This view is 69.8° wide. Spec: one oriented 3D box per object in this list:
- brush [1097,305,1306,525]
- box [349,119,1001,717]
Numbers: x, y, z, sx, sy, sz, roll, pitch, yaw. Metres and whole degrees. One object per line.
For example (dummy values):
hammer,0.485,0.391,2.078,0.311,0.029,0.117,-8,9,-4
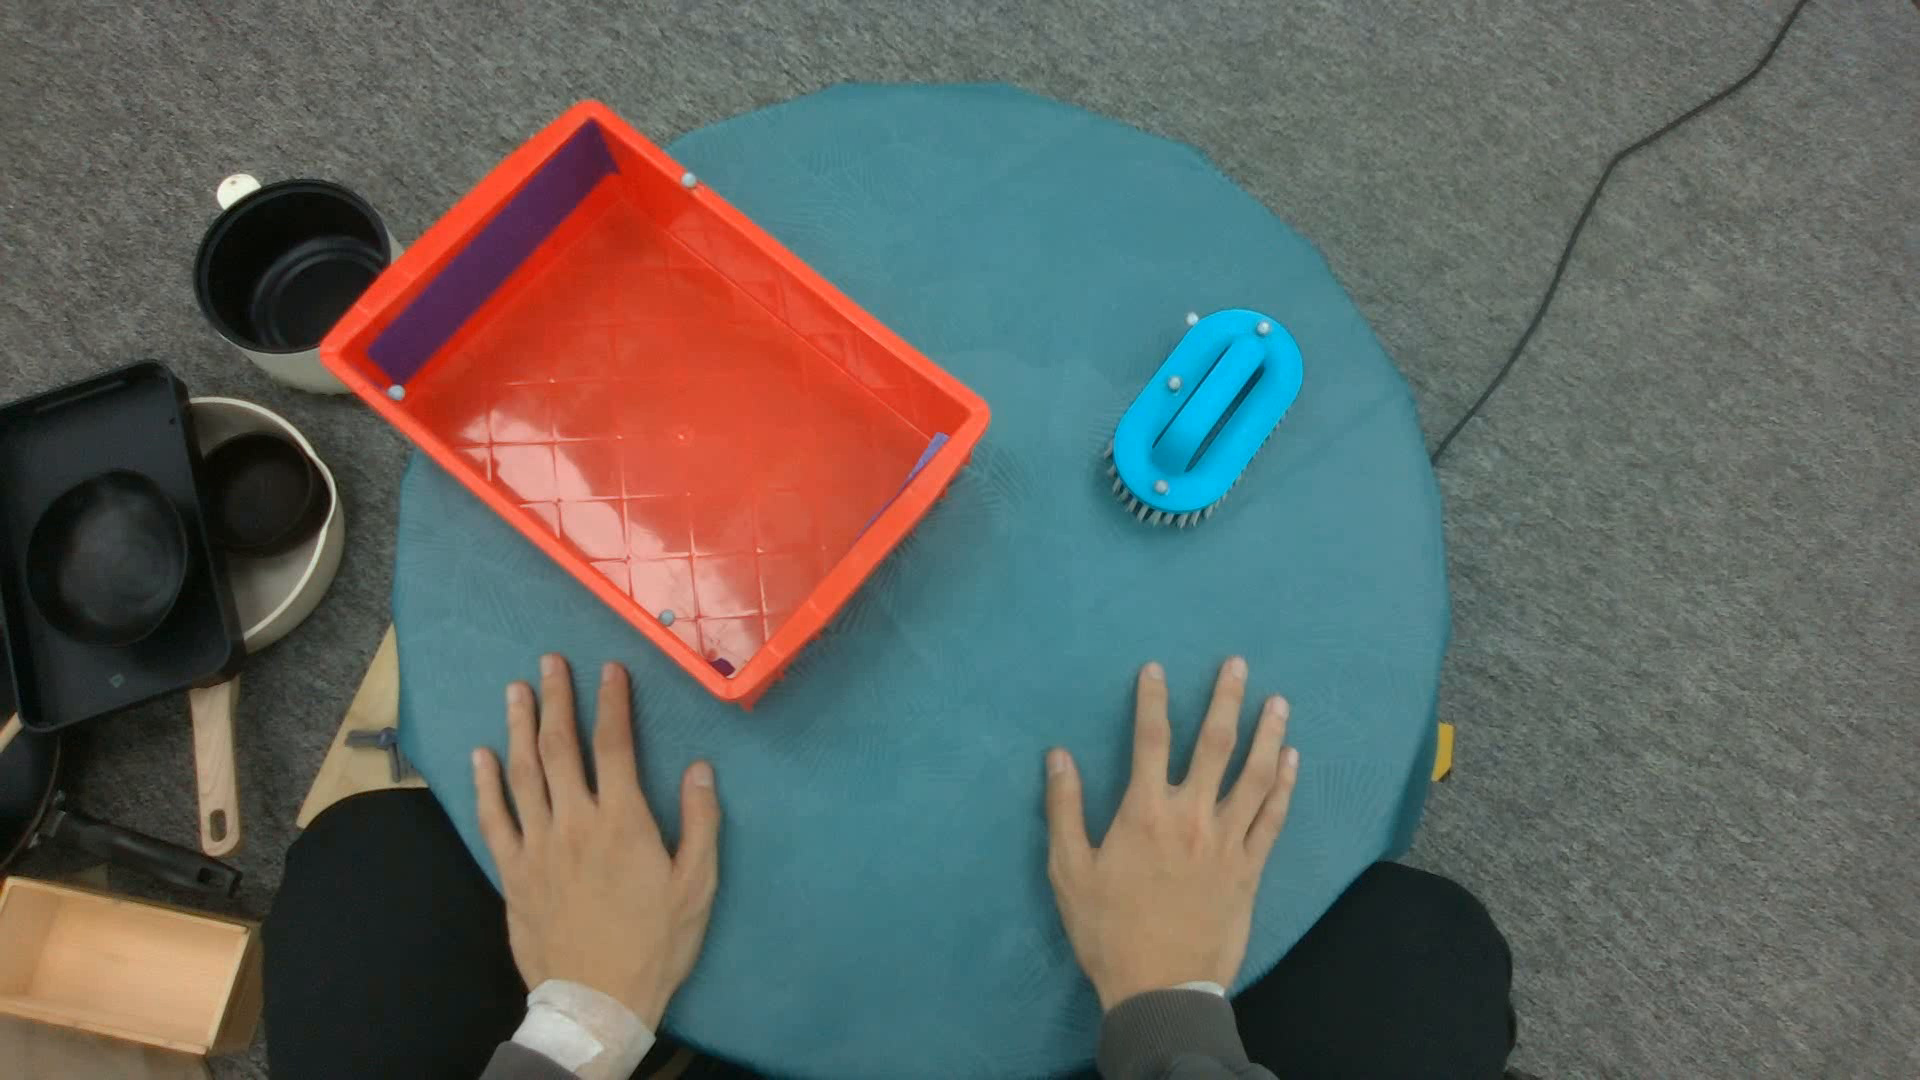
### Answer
brush,0.145,-0.075,0.793,0.084,0.063,0.142,39,77,6
box,-0.152,-0.066,0.774,0.303,0.096,0.207,39,76,11
